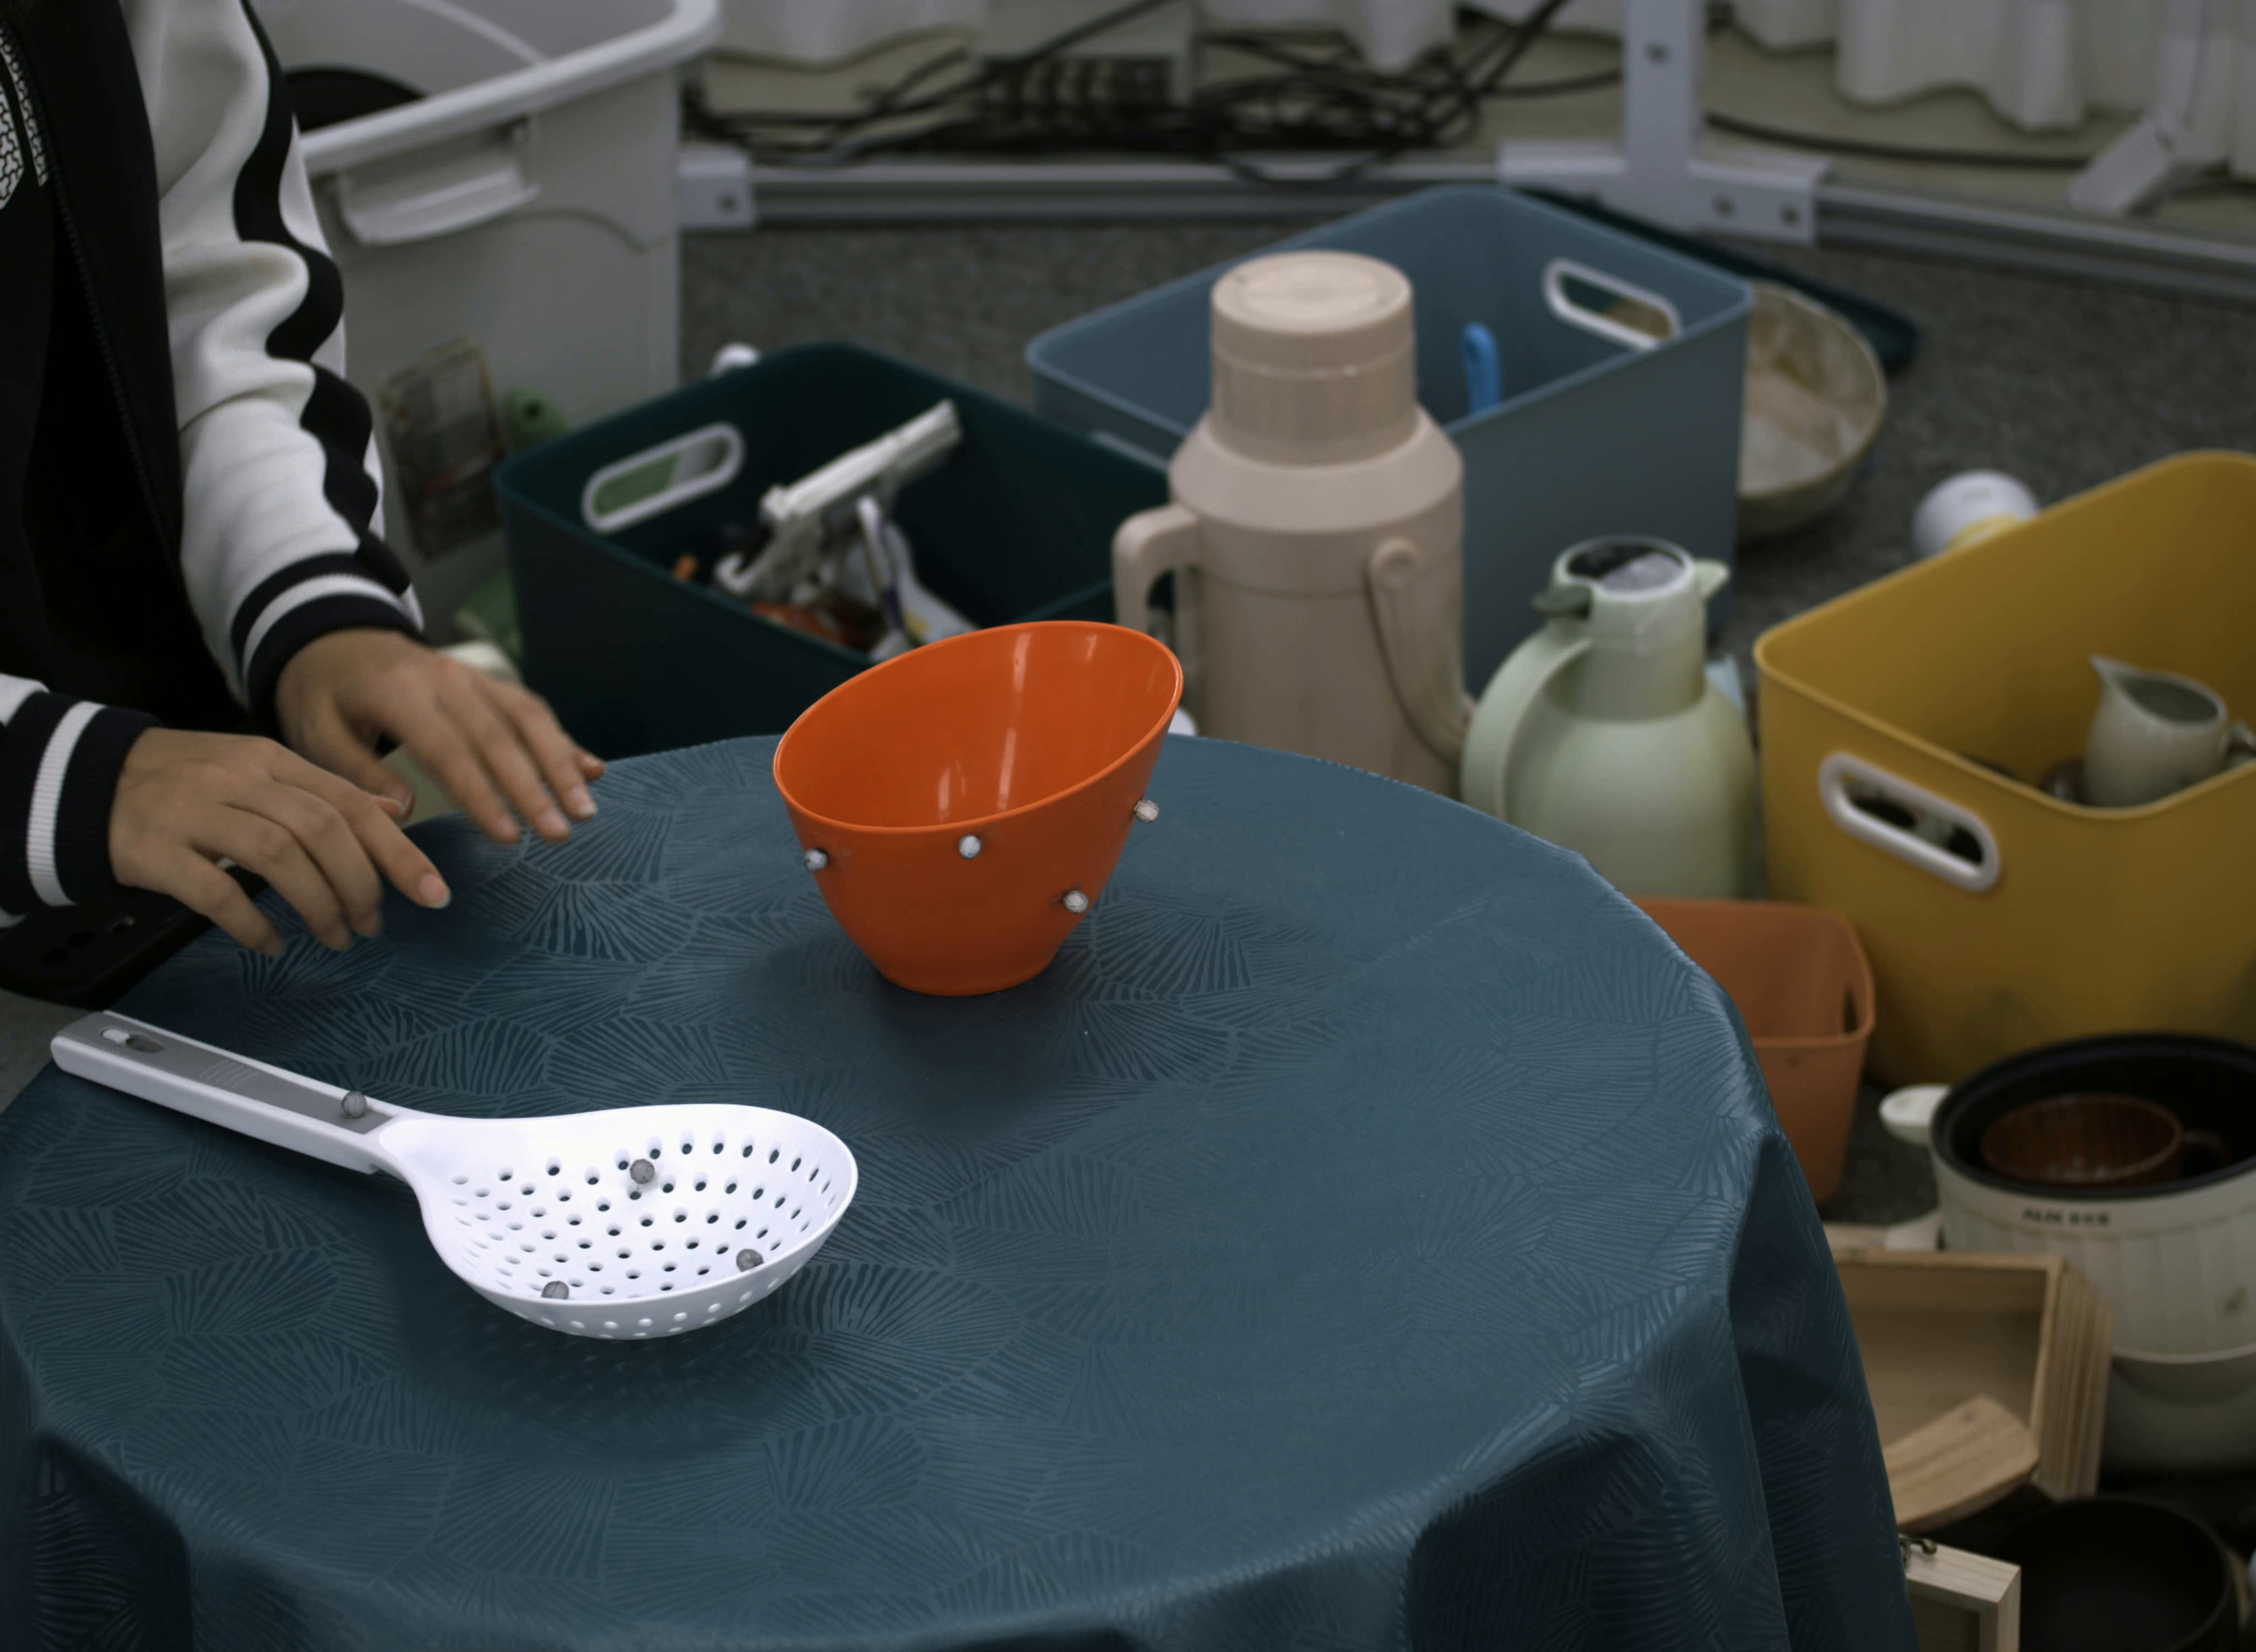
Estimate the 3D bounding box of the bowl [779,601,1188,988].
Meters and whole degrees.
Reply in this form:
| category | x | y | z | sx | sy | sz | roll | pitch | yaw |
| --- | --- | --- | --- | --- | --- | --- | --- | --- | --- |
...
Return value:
| category | x | y | z | sx | sy | sz | roll | pitch | yaw |
| --- | --- | --- | --- | --- | --- | --- | --- | --- | --- |
| bowl | -0.047 | -0.004 | 1.988 | 0.147 | 0.103 | 0.150 | -5 | 33 | 3 |

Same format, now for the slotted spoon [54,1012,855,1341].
| category | x | y | z | sx | sy | sz | roll | pitch | yaw |
| --- | --- | --- | --- | --- | --- | --- | --- | --- | --- |
| slotted spoon | -0.236 | 0.108 | 1.863 | 0.348 | 0.045 | 0.138 | 18 | 32 | 36 |
